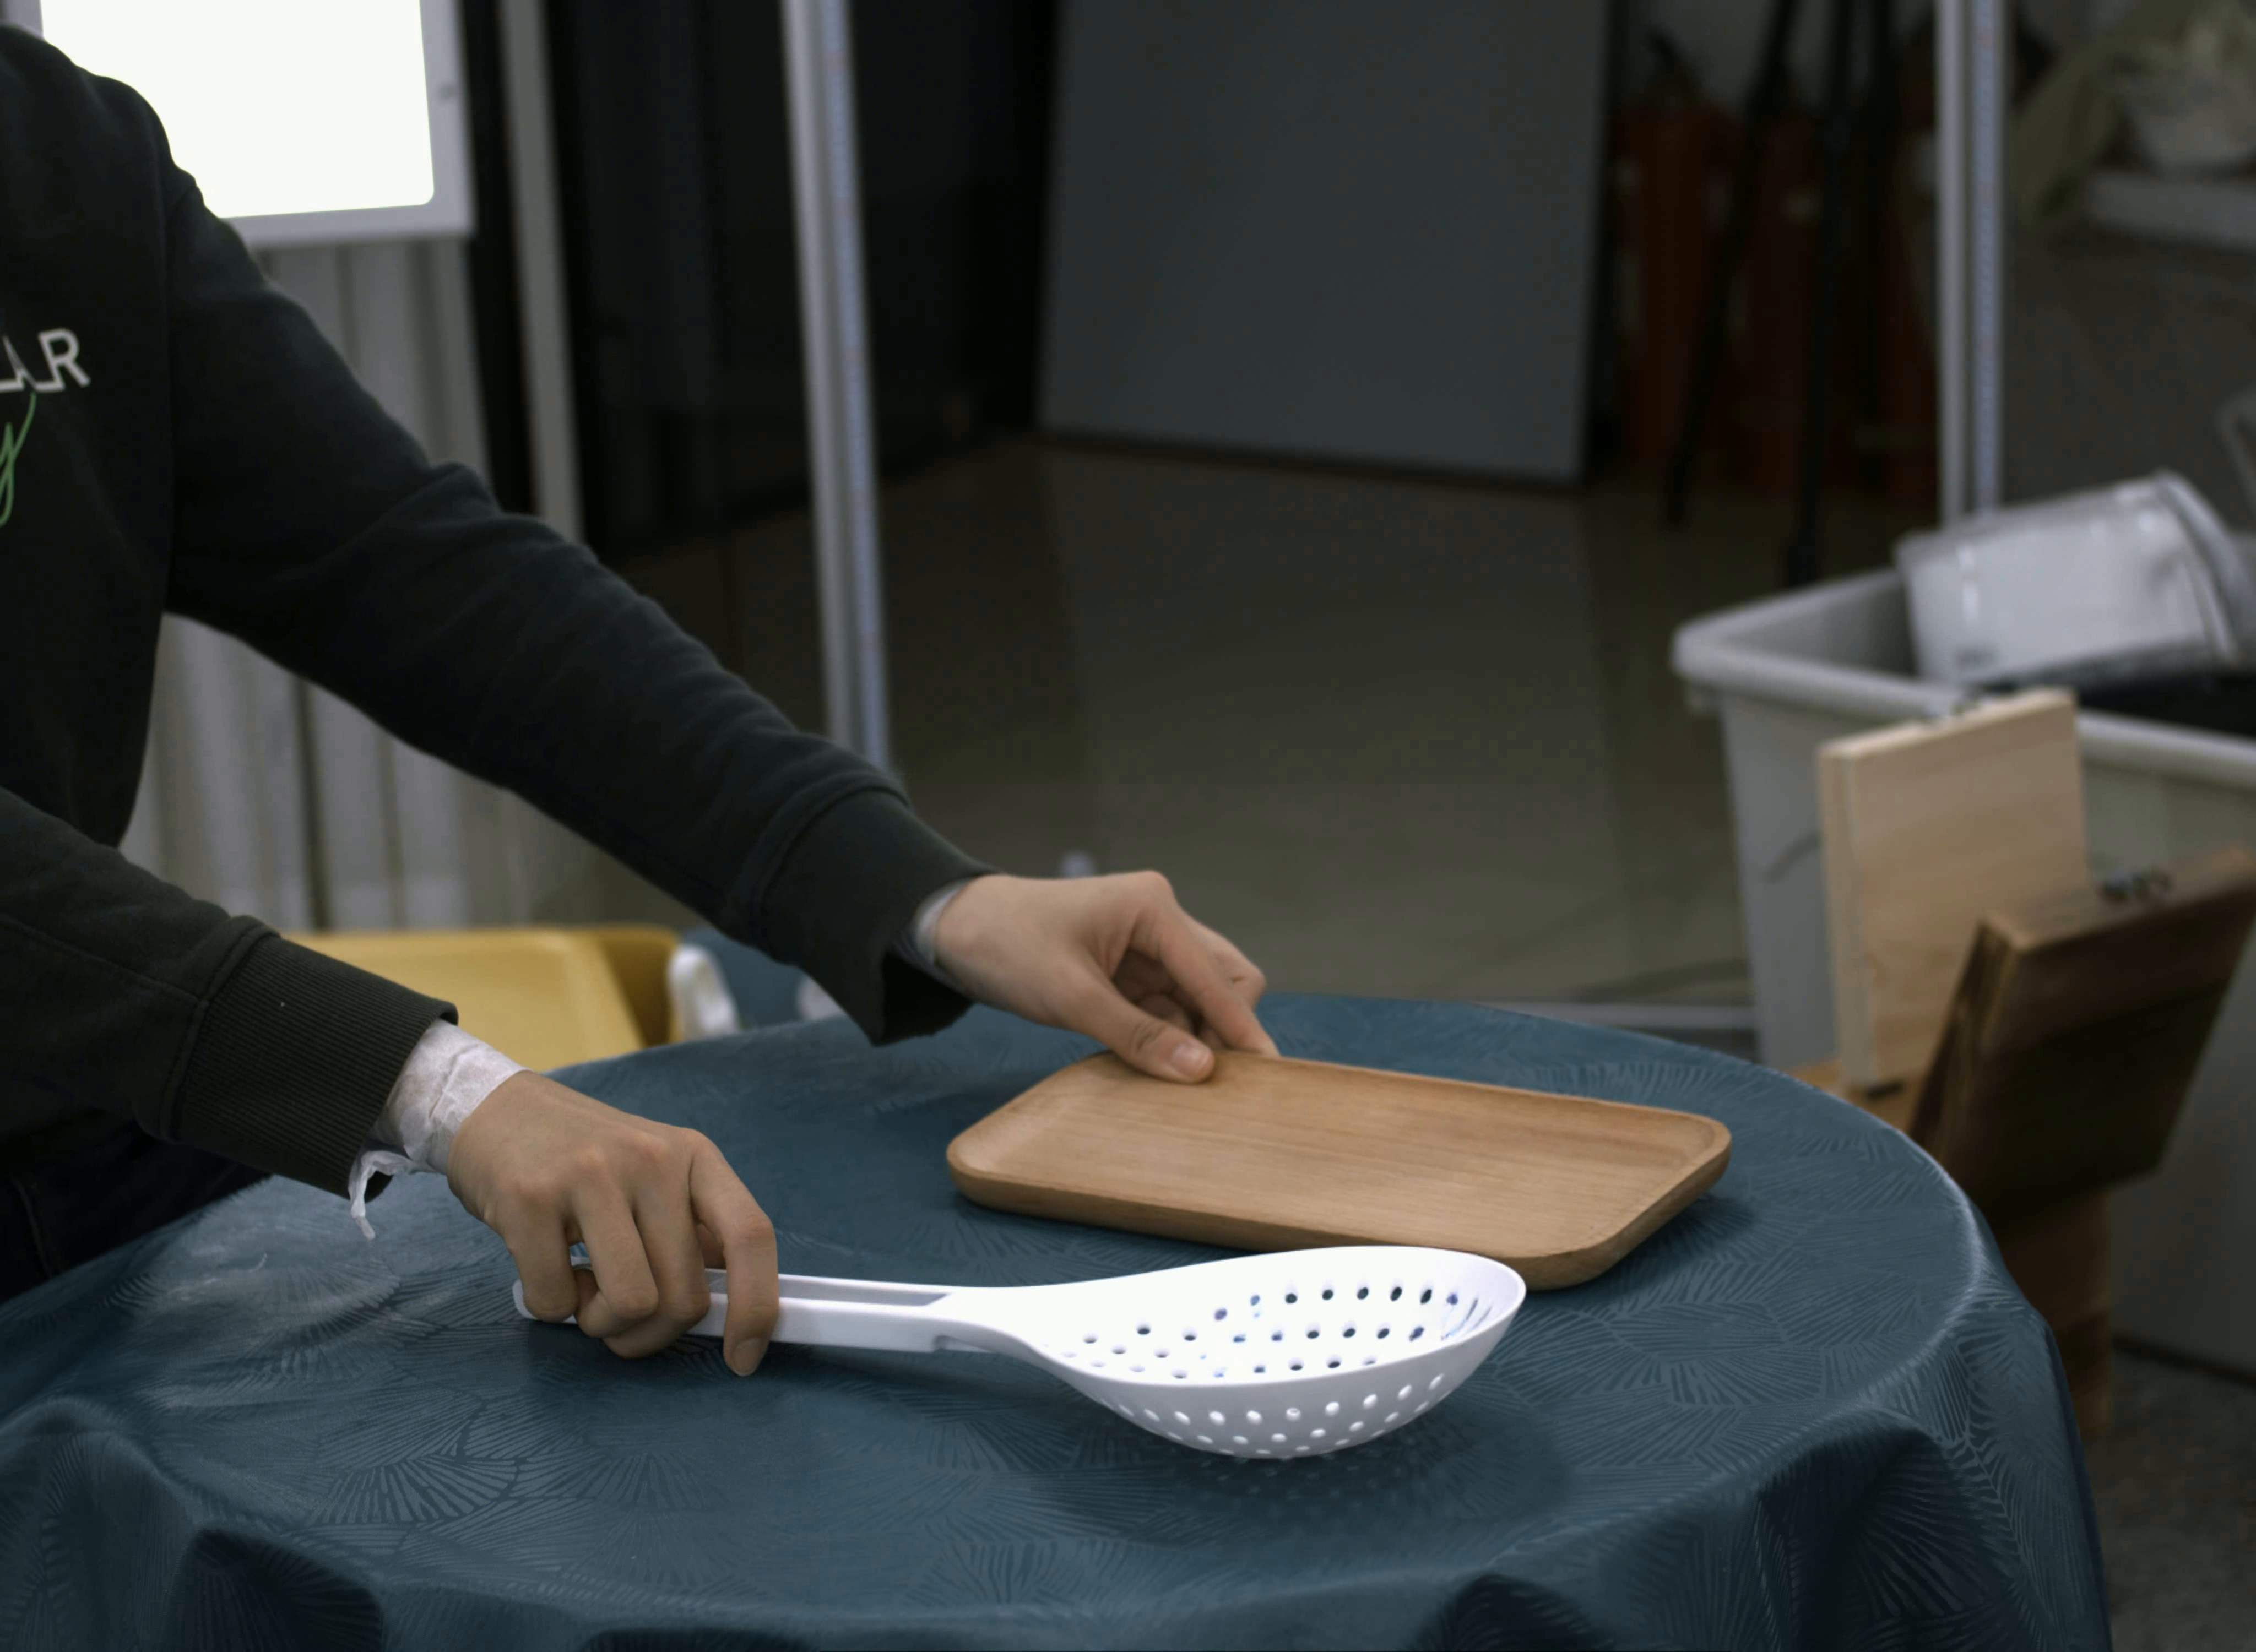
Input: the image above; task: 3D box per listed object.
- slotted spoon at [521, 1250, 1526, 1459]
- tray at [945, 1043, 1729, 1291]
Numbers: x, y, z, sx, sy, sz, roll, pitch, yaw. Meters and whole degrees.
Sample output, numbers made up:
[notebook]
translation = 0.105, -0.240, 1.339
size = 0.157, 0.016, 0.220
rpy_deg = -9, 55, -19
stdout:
[slotted spoon]
translation = -0.041, 0.146, 1.589
size = 0.352, 0.046, 0.133
rpy_deg = 5, 14, 35
[tray]
translation = 0.066, 0.109, 1.747
size = 0.252, 0.023, 0.128
rpy_deg = 5, 19, 35
